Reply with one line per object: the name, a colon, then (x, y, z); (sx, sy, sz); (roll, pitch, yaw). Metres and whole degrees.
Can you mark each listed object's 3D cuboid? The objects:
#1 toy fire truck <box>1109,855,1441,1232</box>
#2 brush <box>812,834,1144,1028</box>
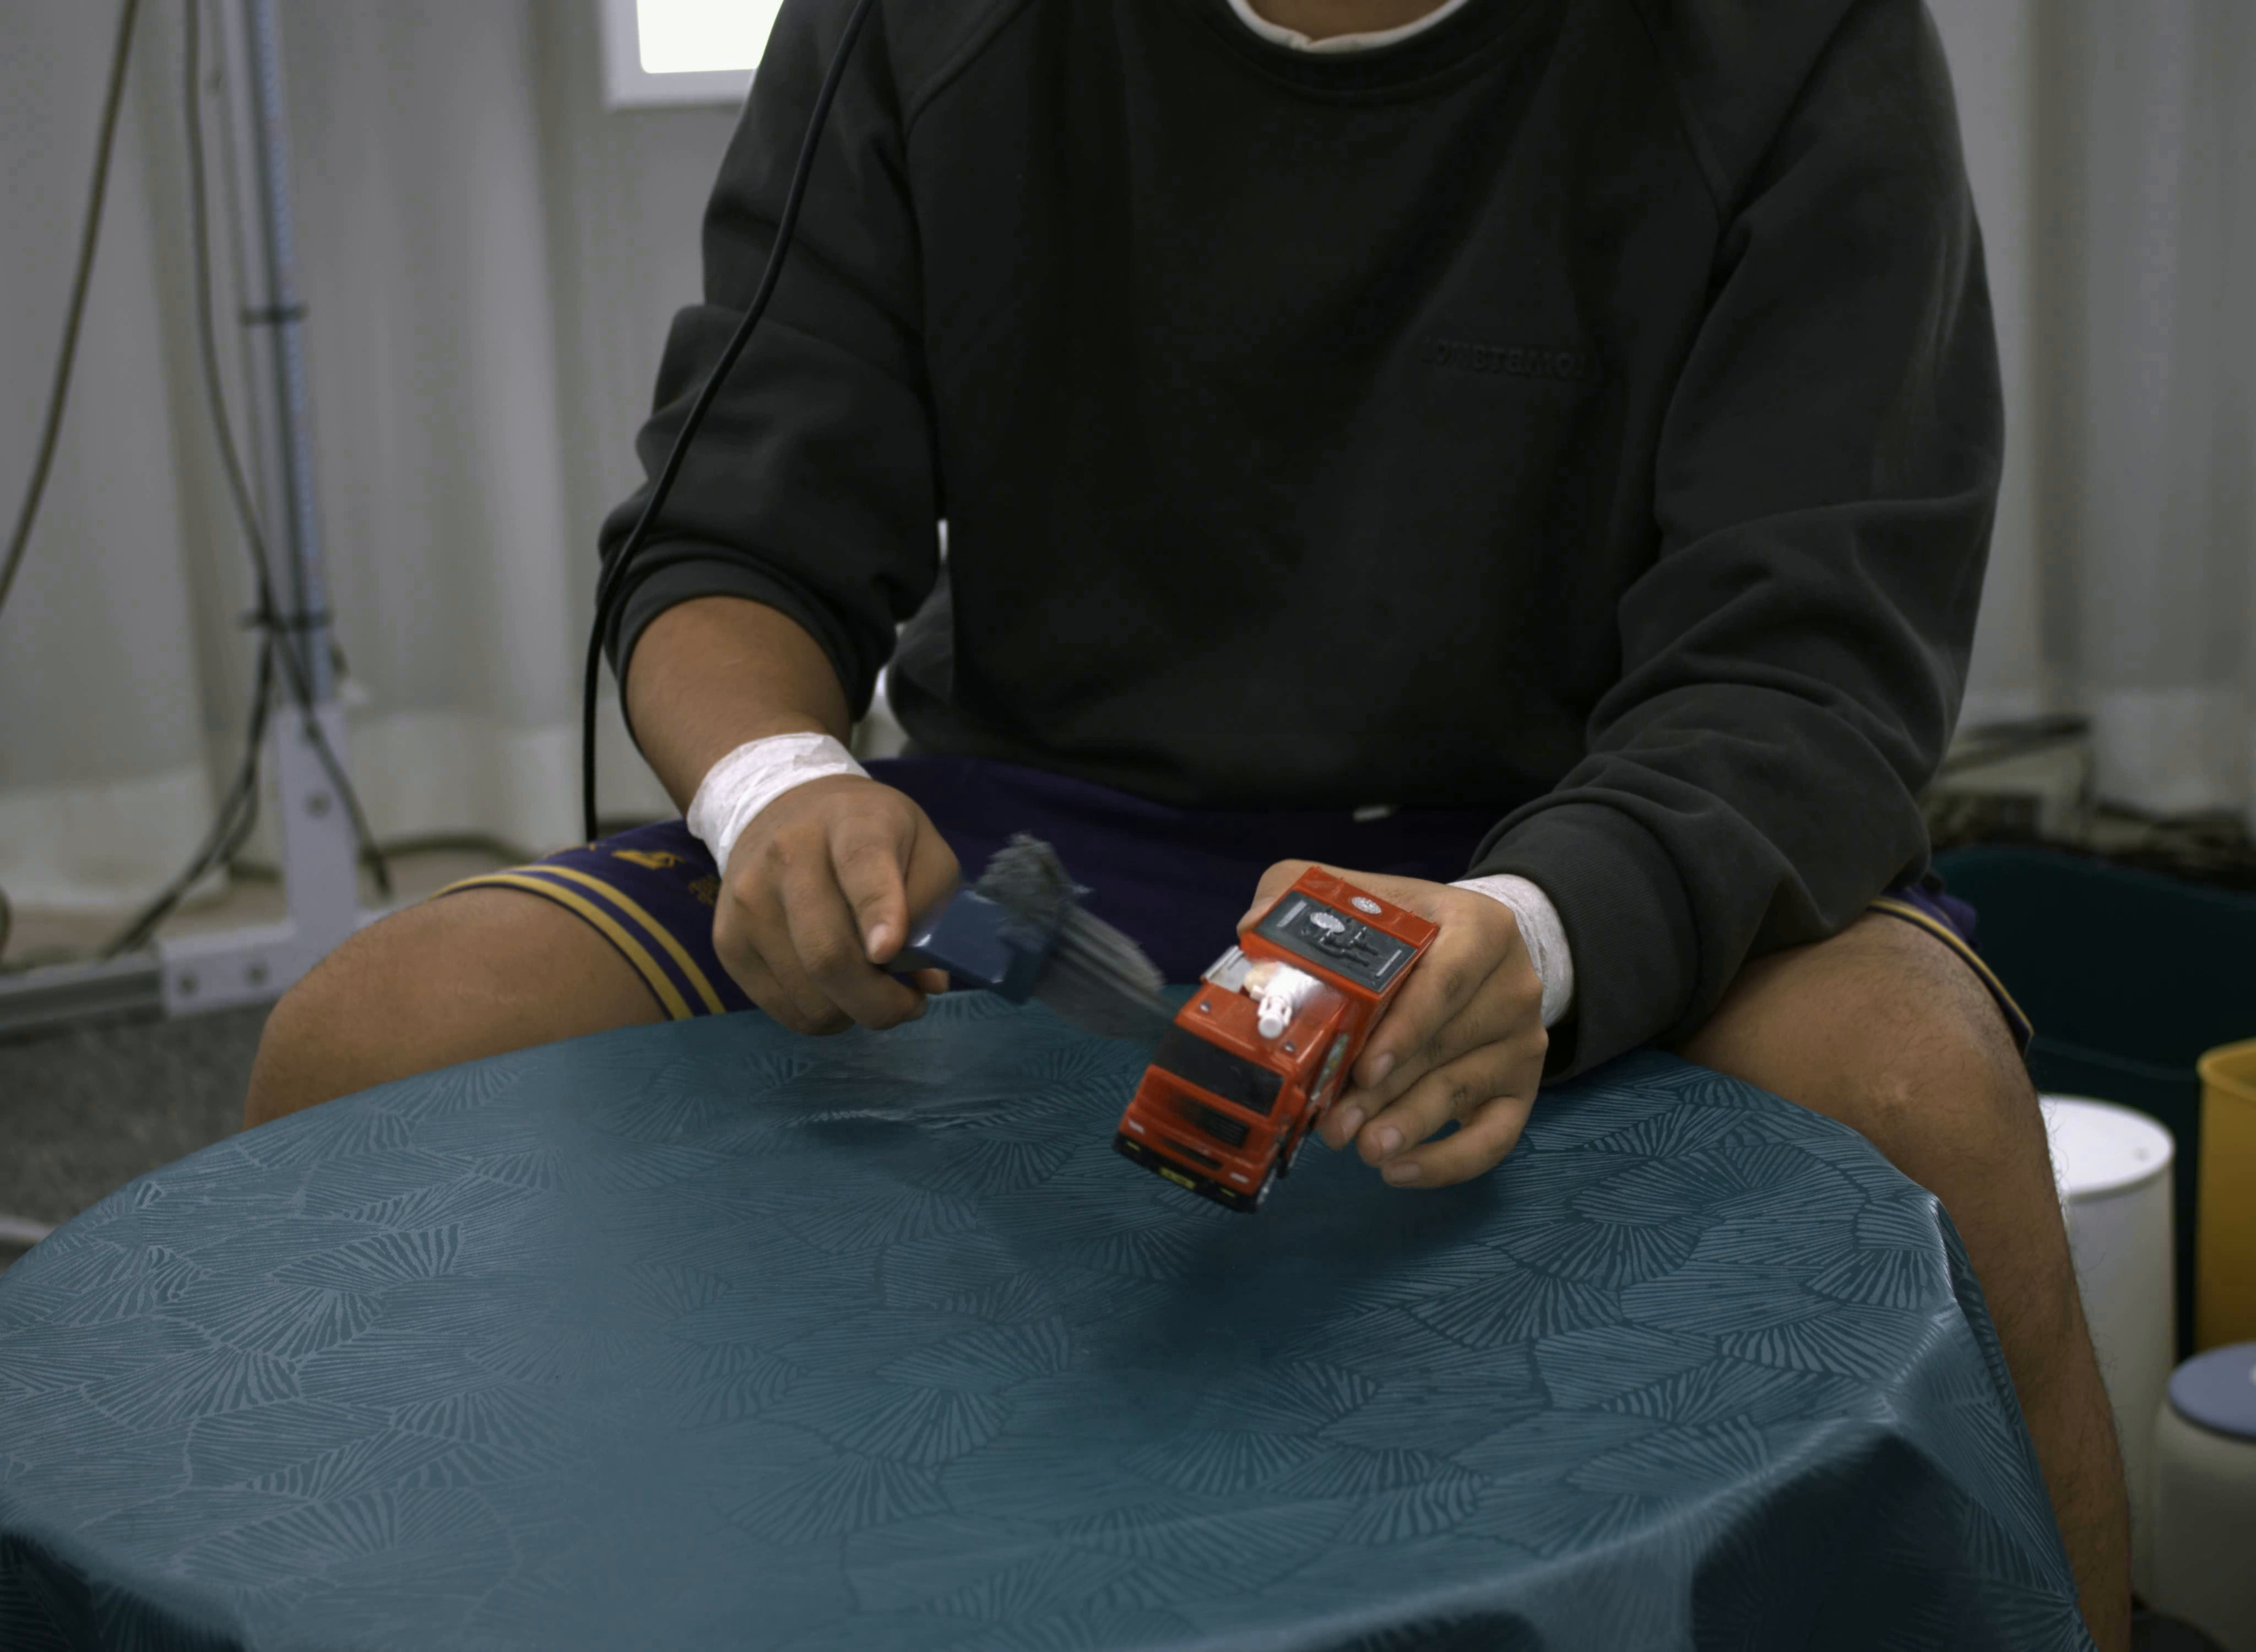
toy fire truck: (0.045, 0.060, 1.597); (0.054, 0.070, 0.168); (27, 21, 9)
brush: (-0.063, 0.029, 1.732); (0.095, 0.034, 0.274); (38, -14, -22)
